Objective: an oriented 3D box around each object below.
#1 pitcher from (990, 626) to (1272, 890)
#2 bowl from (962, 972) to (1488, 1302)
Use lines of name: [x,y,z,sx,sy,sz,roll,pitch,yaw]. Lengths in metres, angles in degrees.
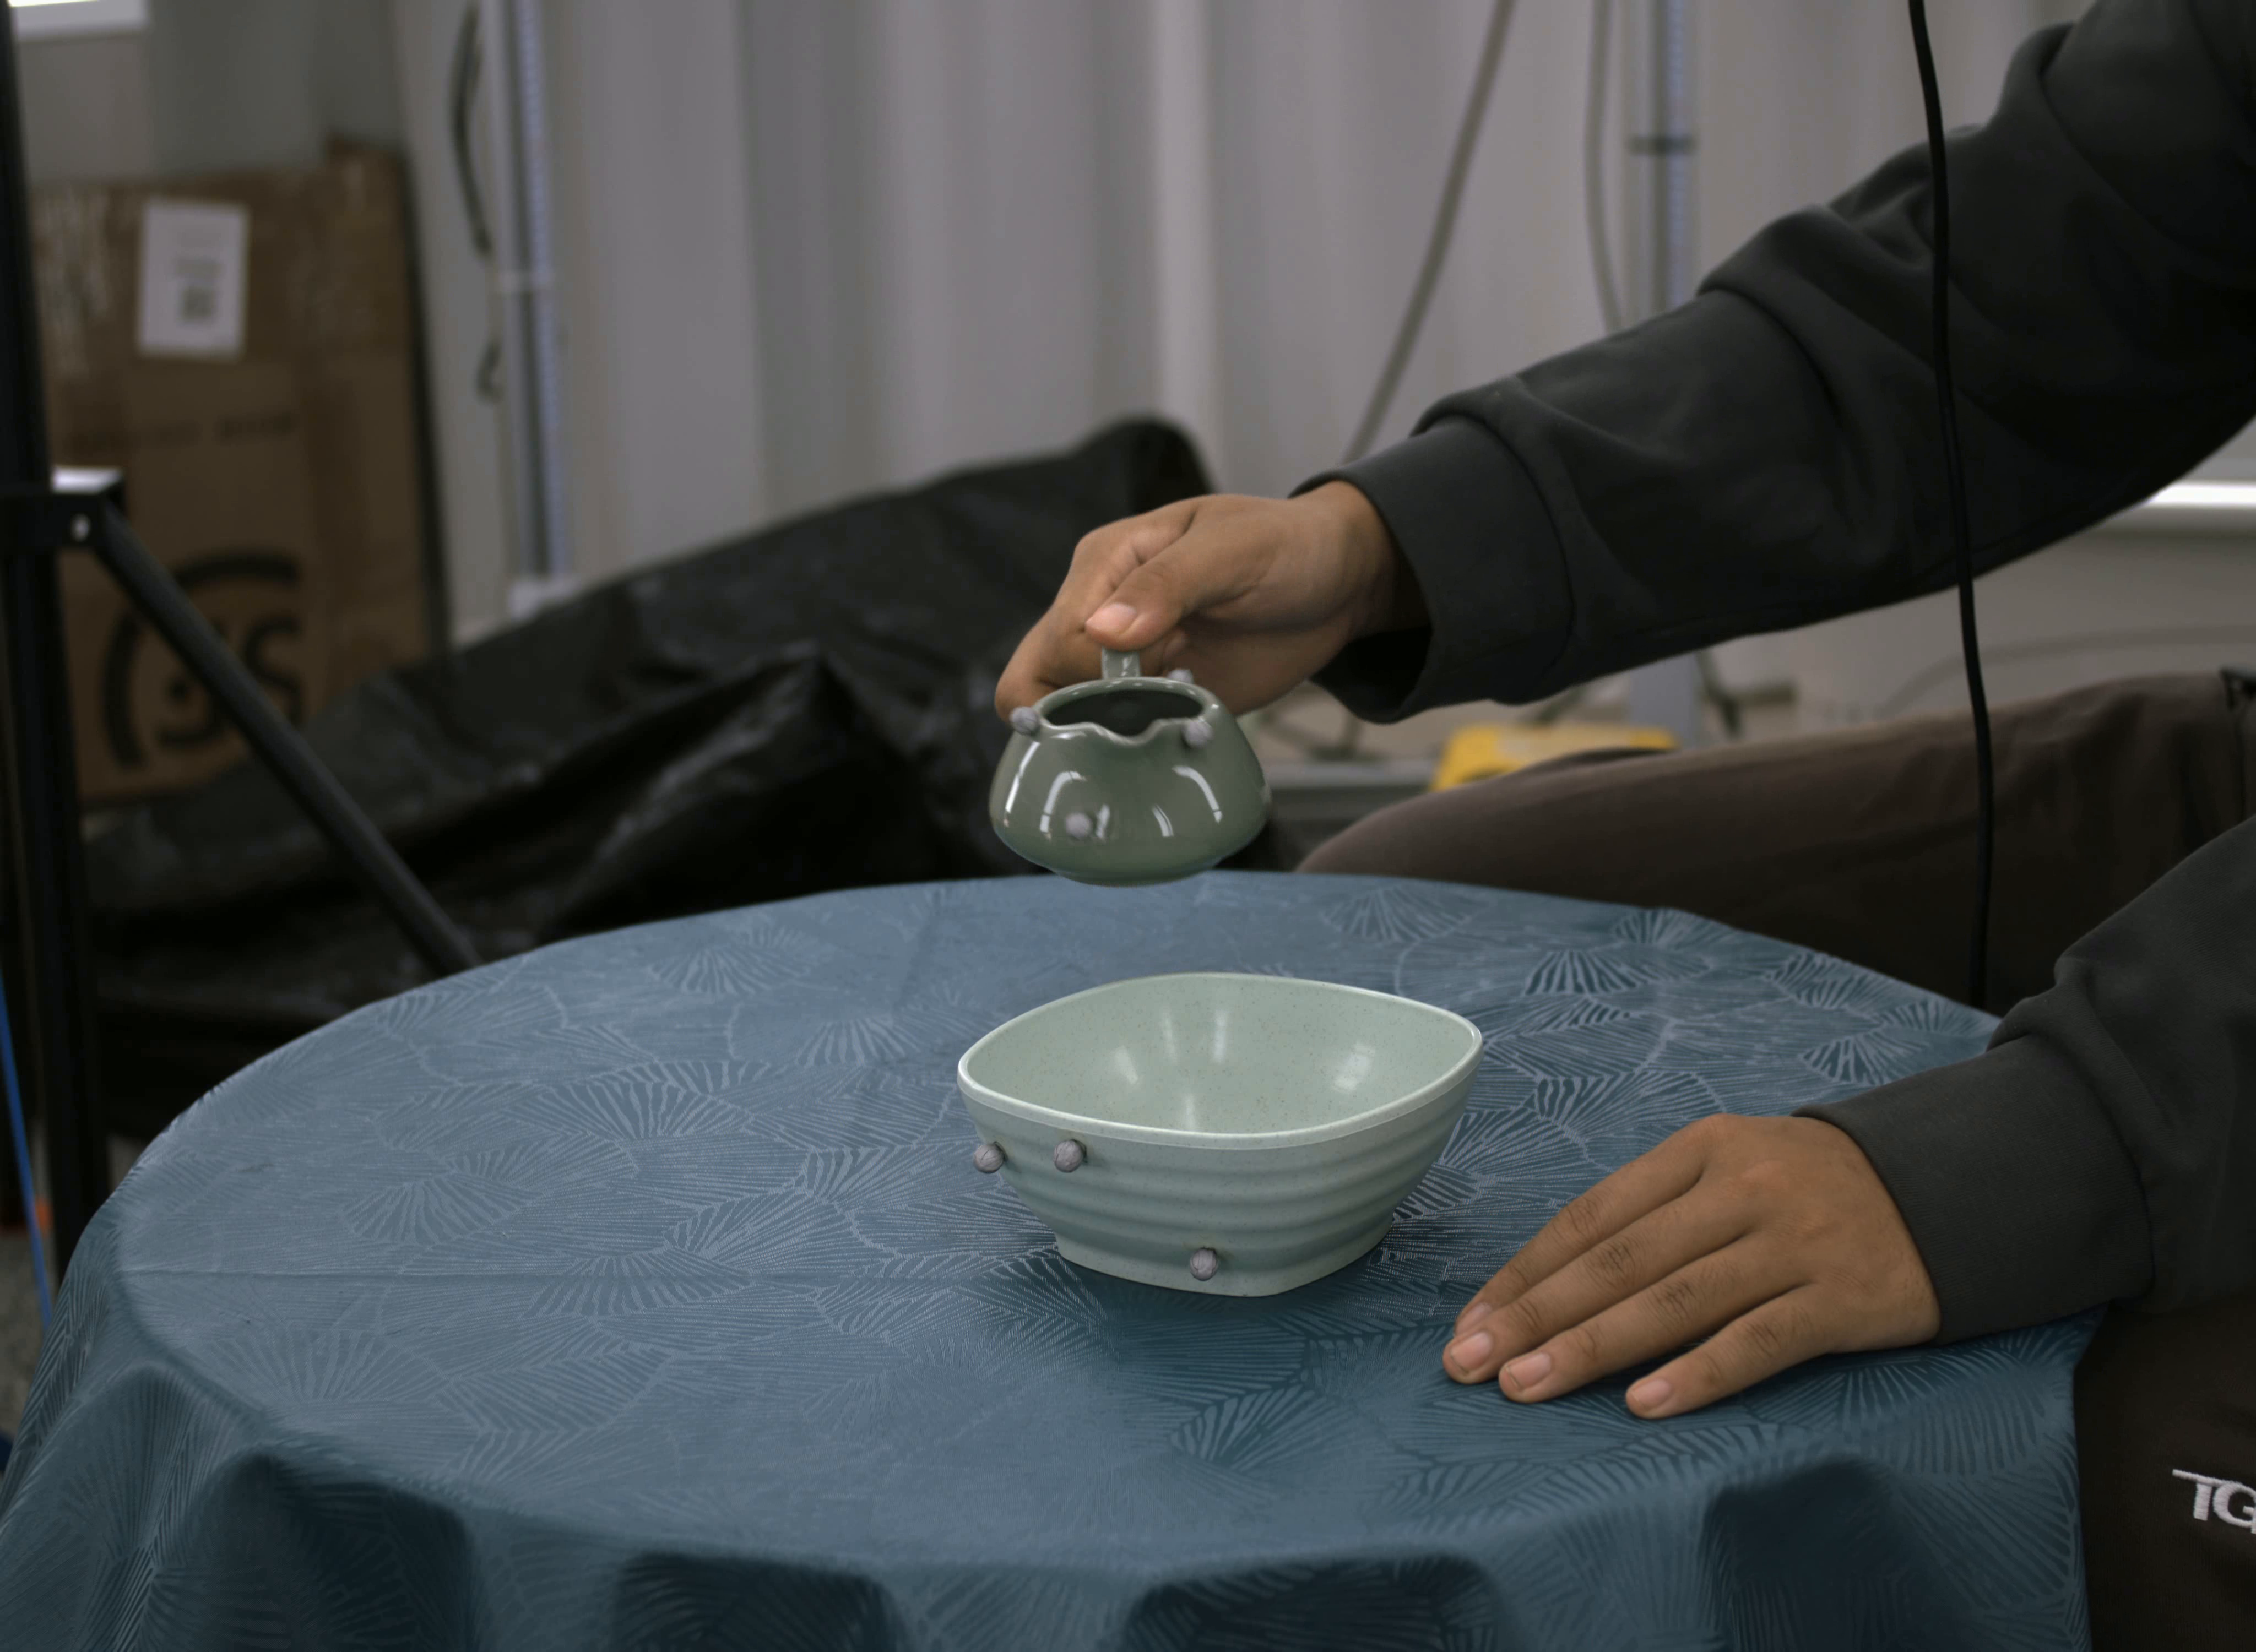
pitcher: [0.000,-0.019,1.583,0.083,0.056,0.113,-3,21,-3]
bowl: [0.029,0.092,1.509,0.151,0.058,0.152,-4,17,0]
